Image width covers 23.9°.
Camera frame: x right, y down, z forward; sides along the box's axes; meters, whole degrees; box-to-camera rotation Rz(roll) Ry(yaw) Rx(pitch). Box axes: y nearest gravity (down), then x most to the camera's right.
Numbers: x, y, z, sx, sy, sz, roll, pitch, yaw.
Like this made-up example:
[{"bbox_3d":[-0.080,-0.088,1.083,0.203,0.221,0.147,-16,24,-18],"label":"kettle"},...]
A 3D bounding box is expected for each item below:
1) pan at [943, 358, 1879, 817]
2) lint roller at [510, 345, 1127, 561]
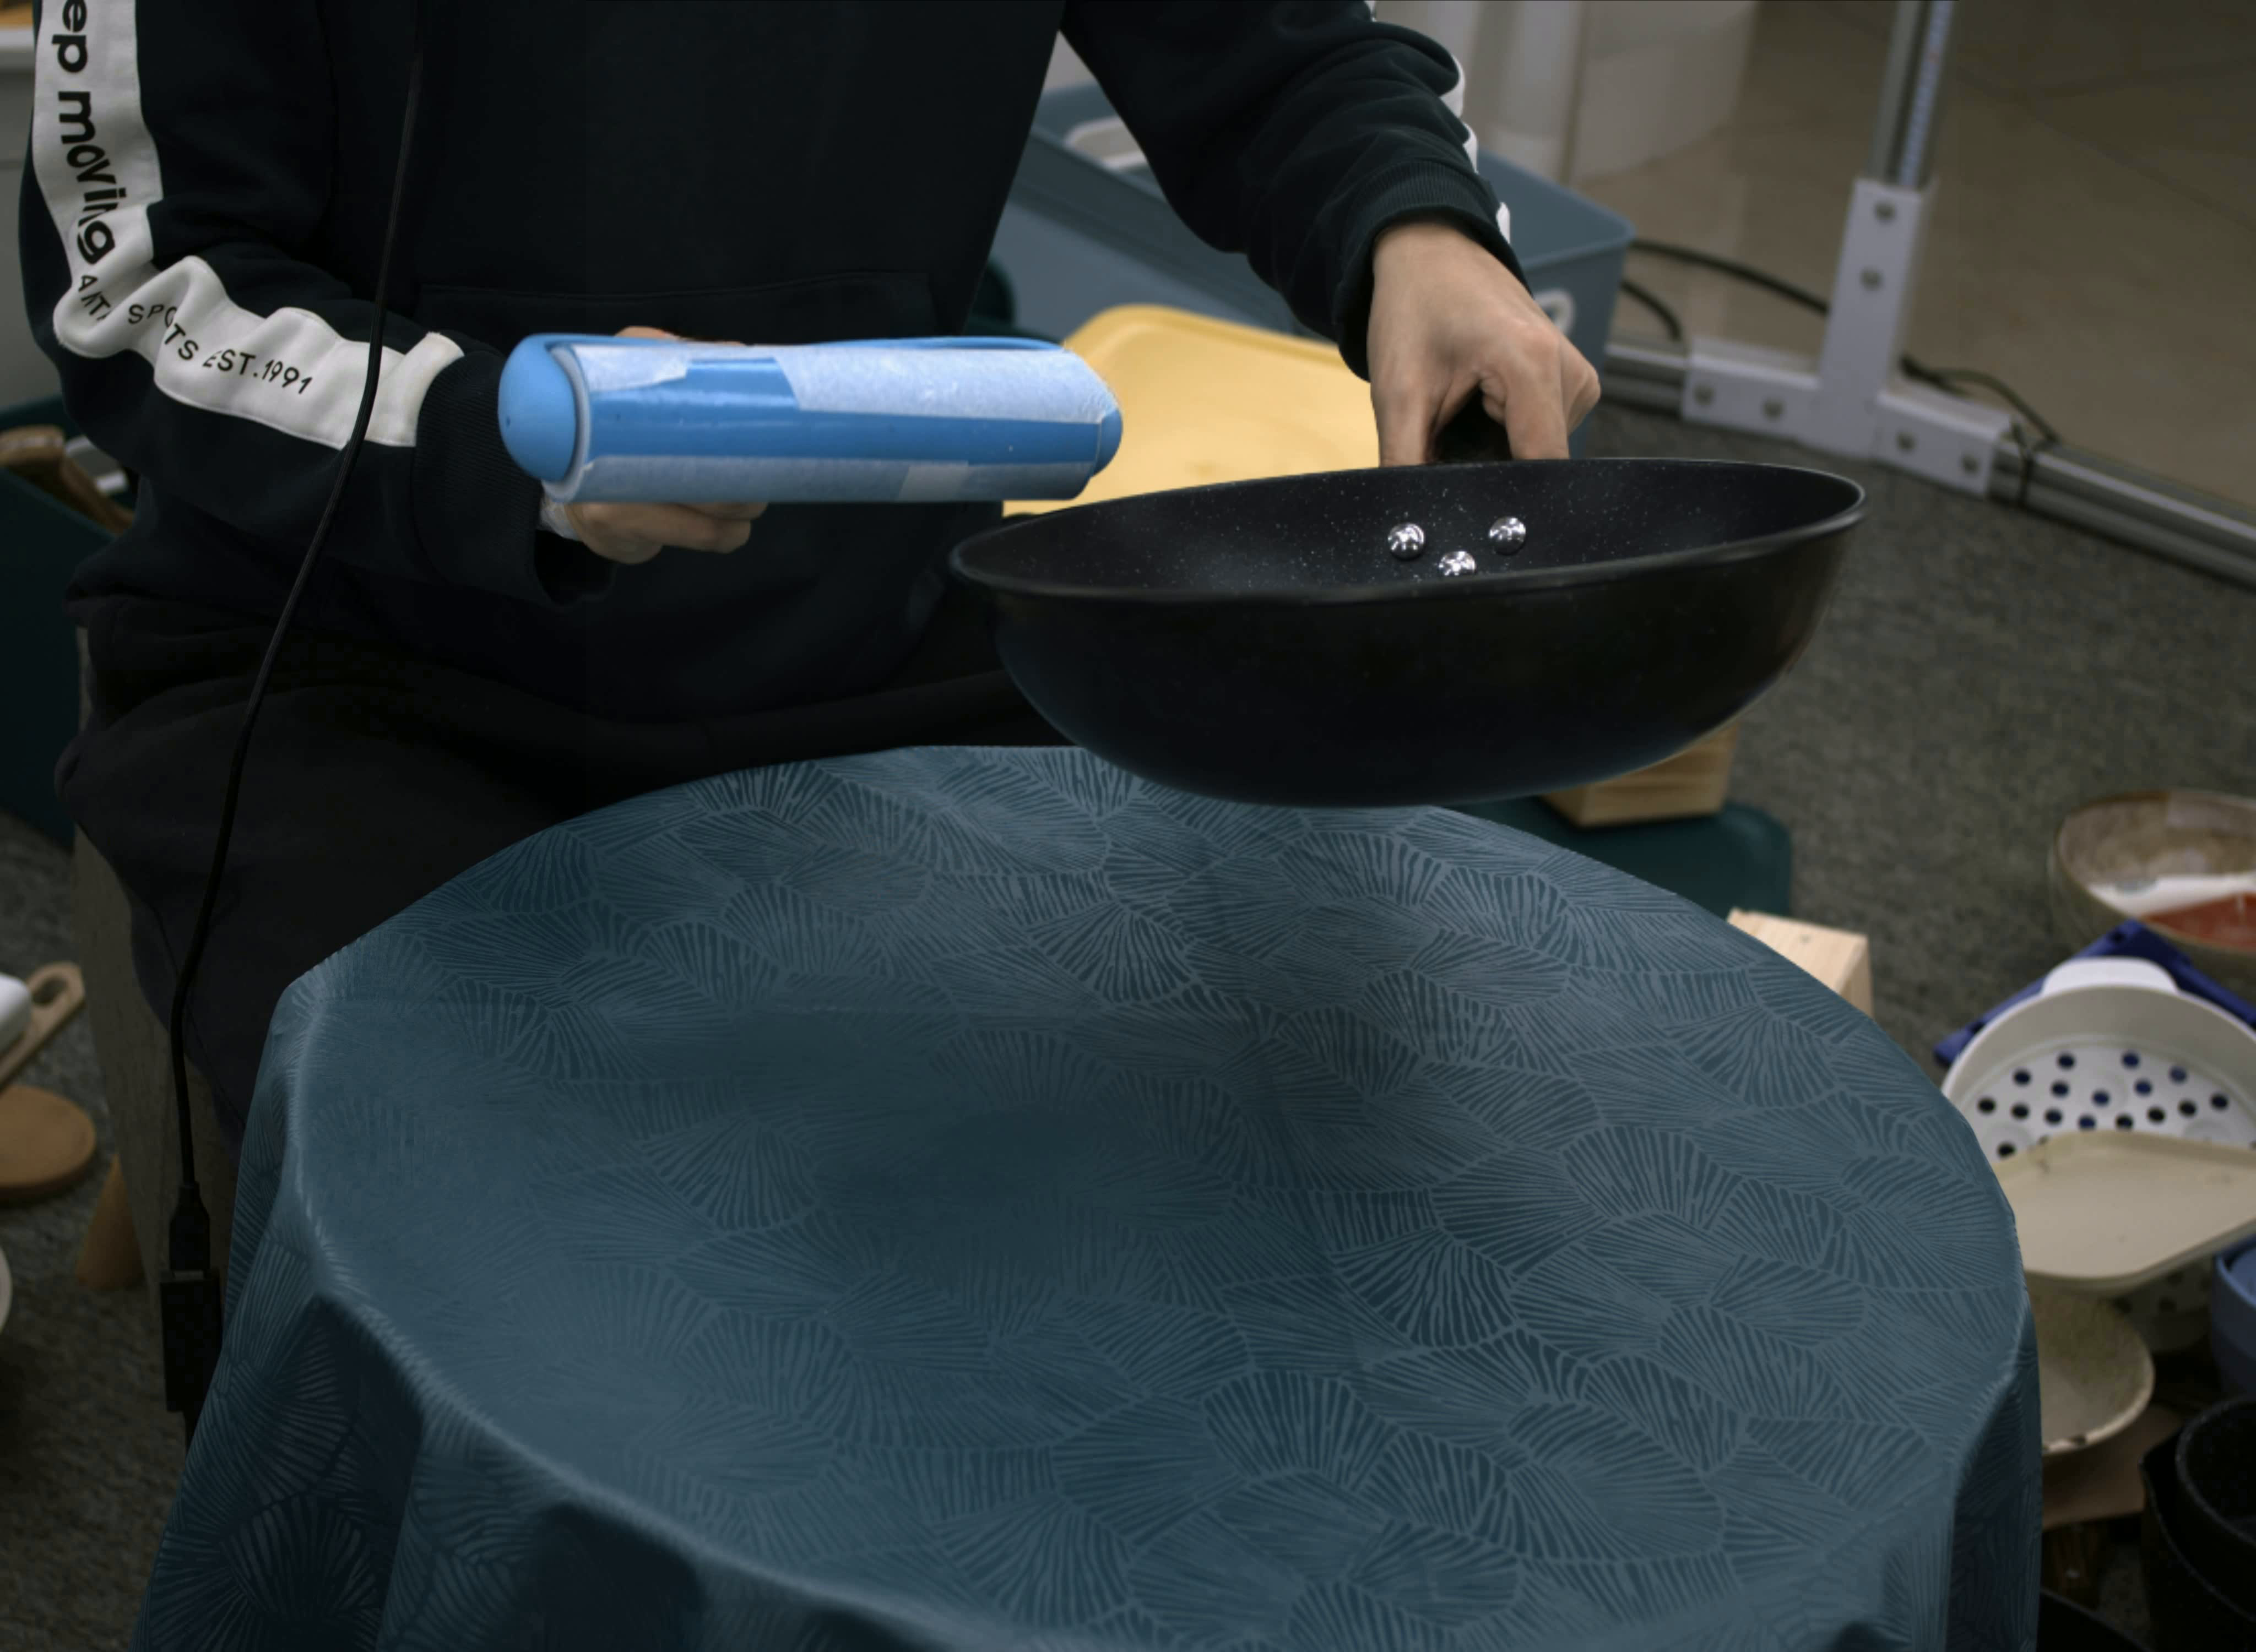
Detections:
[{"bbox_3d":[0.107,-0.085,1.851,0.310,0.111,0.477,-1,10,9],"label":"pan"},{"bbox_3d":[-0.134,-0.135,1.884,0.227,0.068,0.181,-4,0,-30],"label":"lint roller"}]
